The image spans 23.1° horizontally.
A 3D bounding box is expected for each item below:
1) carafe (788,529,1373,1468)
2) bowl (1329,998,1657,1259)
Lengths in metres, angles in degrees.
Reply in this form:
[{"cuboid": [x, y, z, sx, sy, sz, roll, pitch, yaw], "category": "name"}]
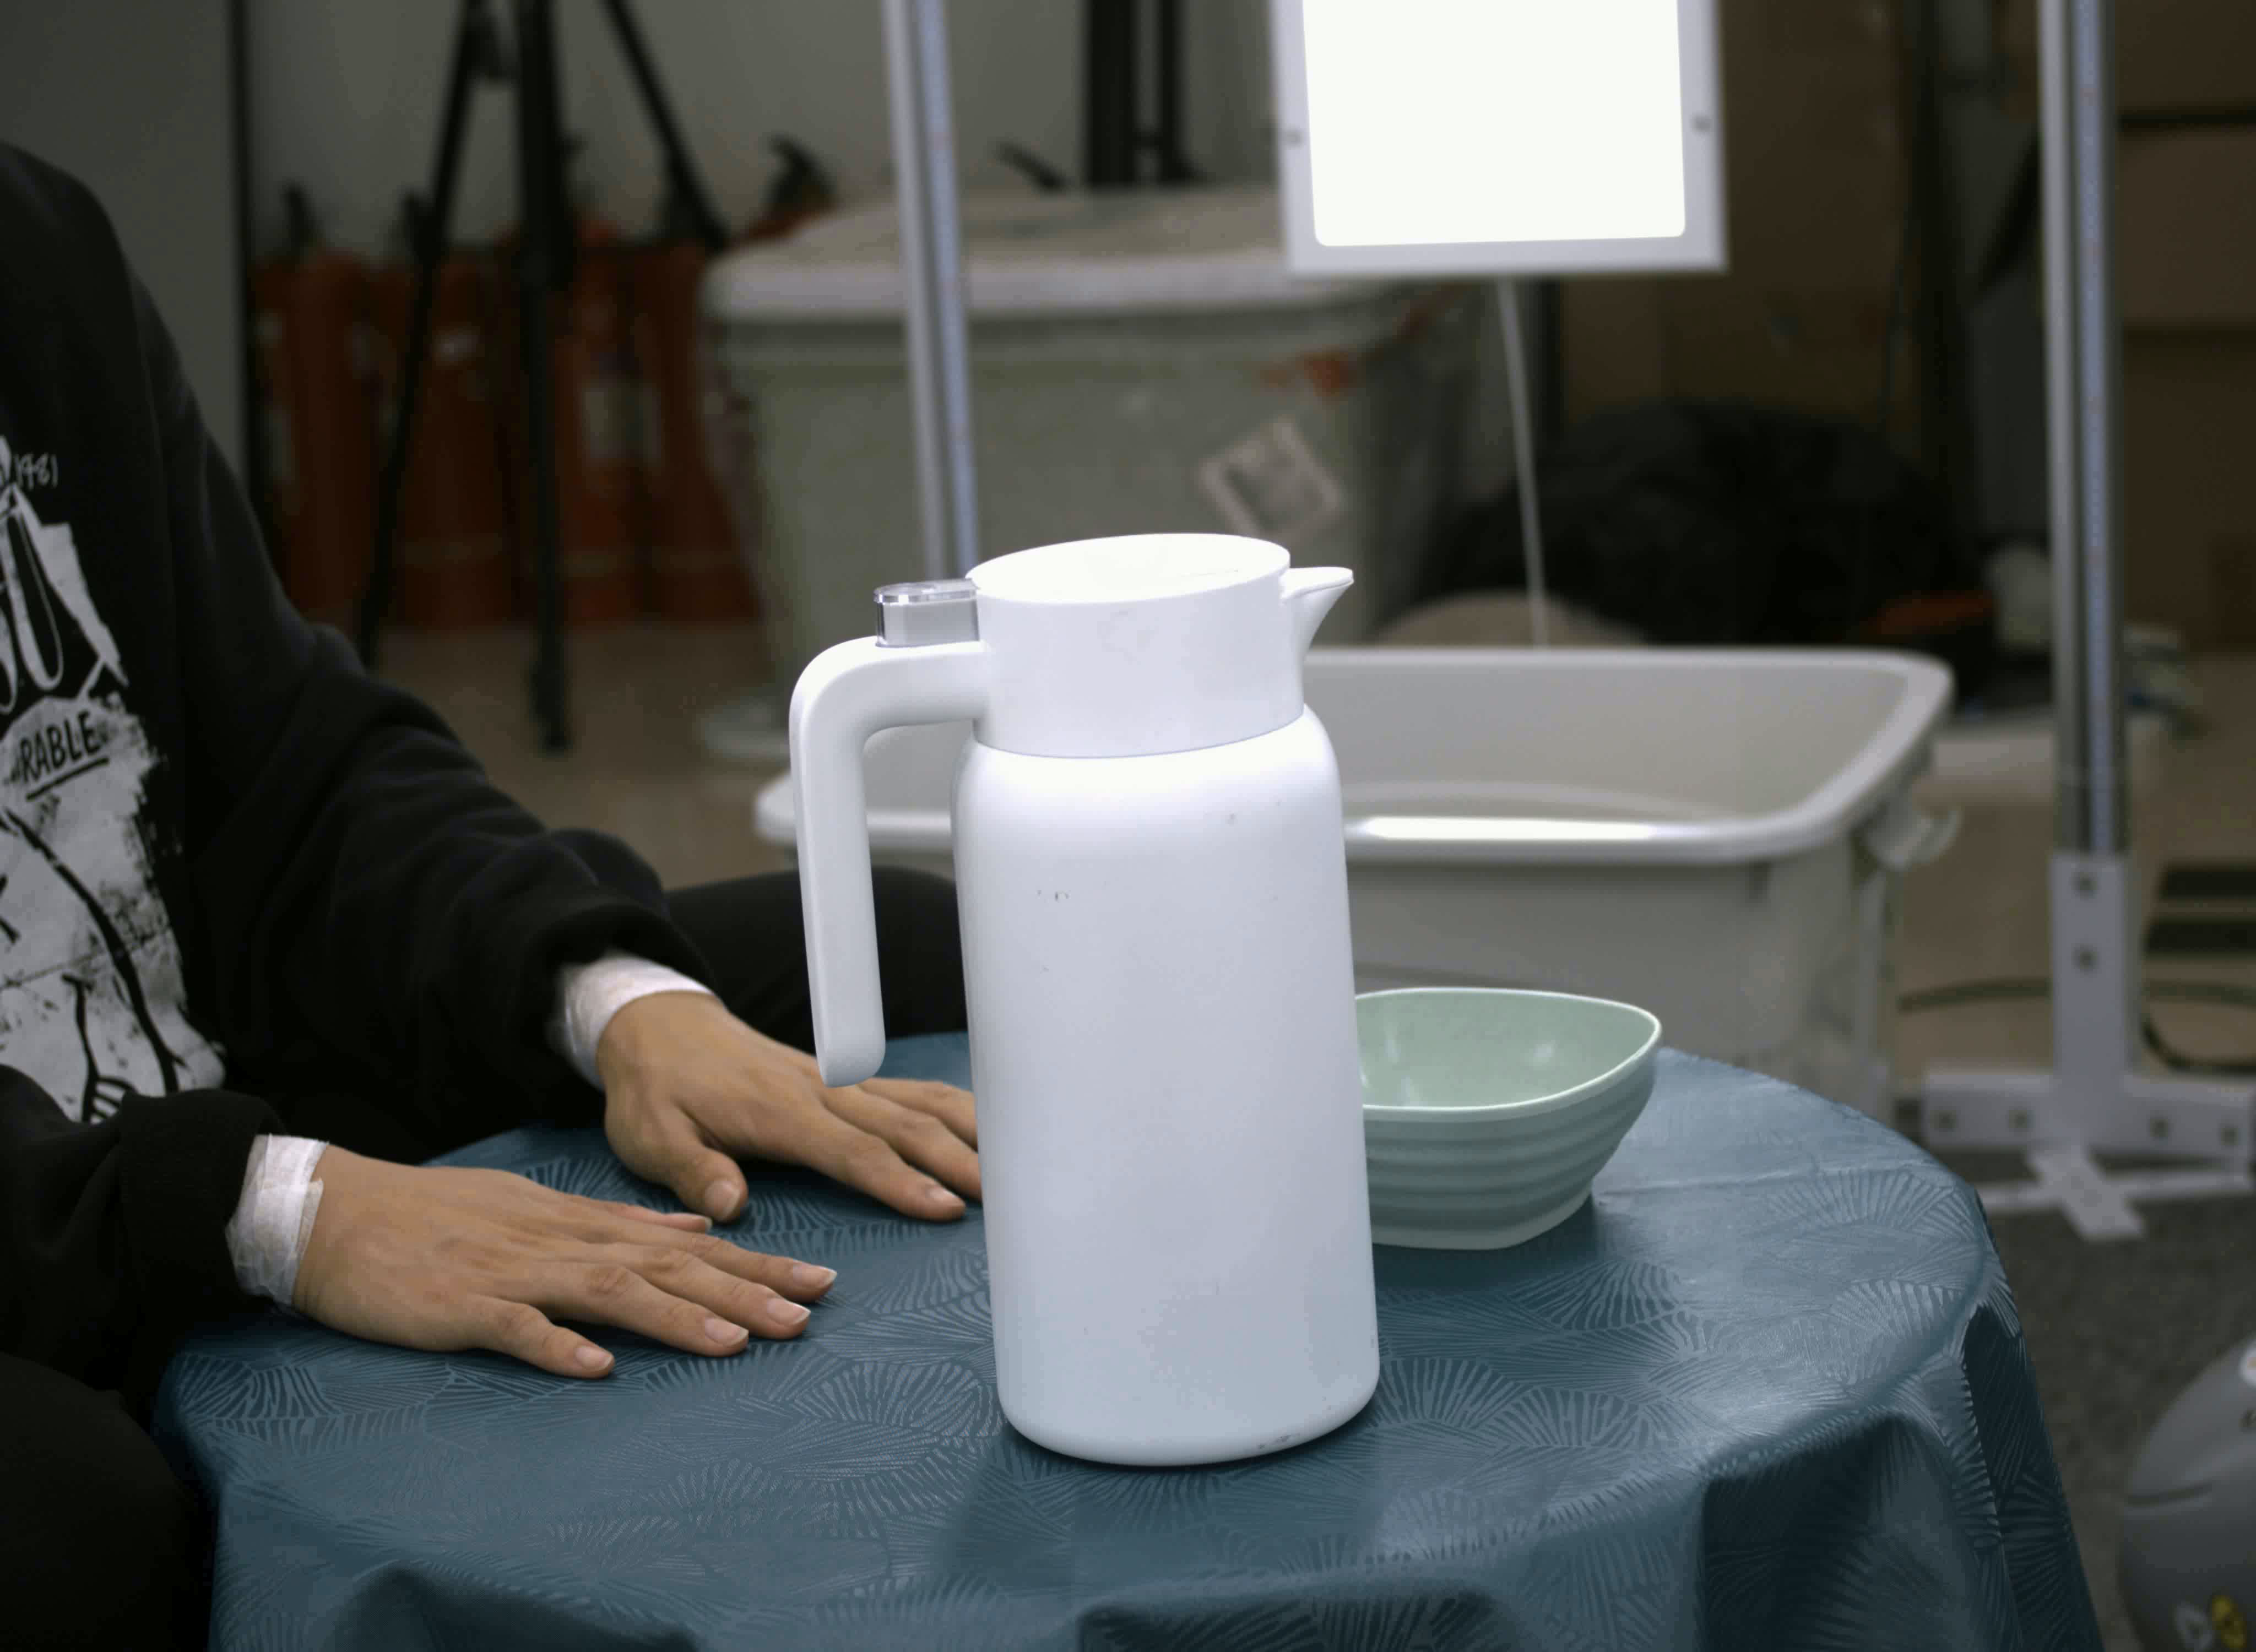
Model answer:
[{"cuboid": [-0.008, 0.052, 1.645, 0.171, 0.270, 0.124, -7, 16, -8], "category": "carafe"}, {"cuboid": [0.106, 0.104, 1.841, 0.151, 0.059, 0.151, -5, 13, 0], "category": "bowl"}]
